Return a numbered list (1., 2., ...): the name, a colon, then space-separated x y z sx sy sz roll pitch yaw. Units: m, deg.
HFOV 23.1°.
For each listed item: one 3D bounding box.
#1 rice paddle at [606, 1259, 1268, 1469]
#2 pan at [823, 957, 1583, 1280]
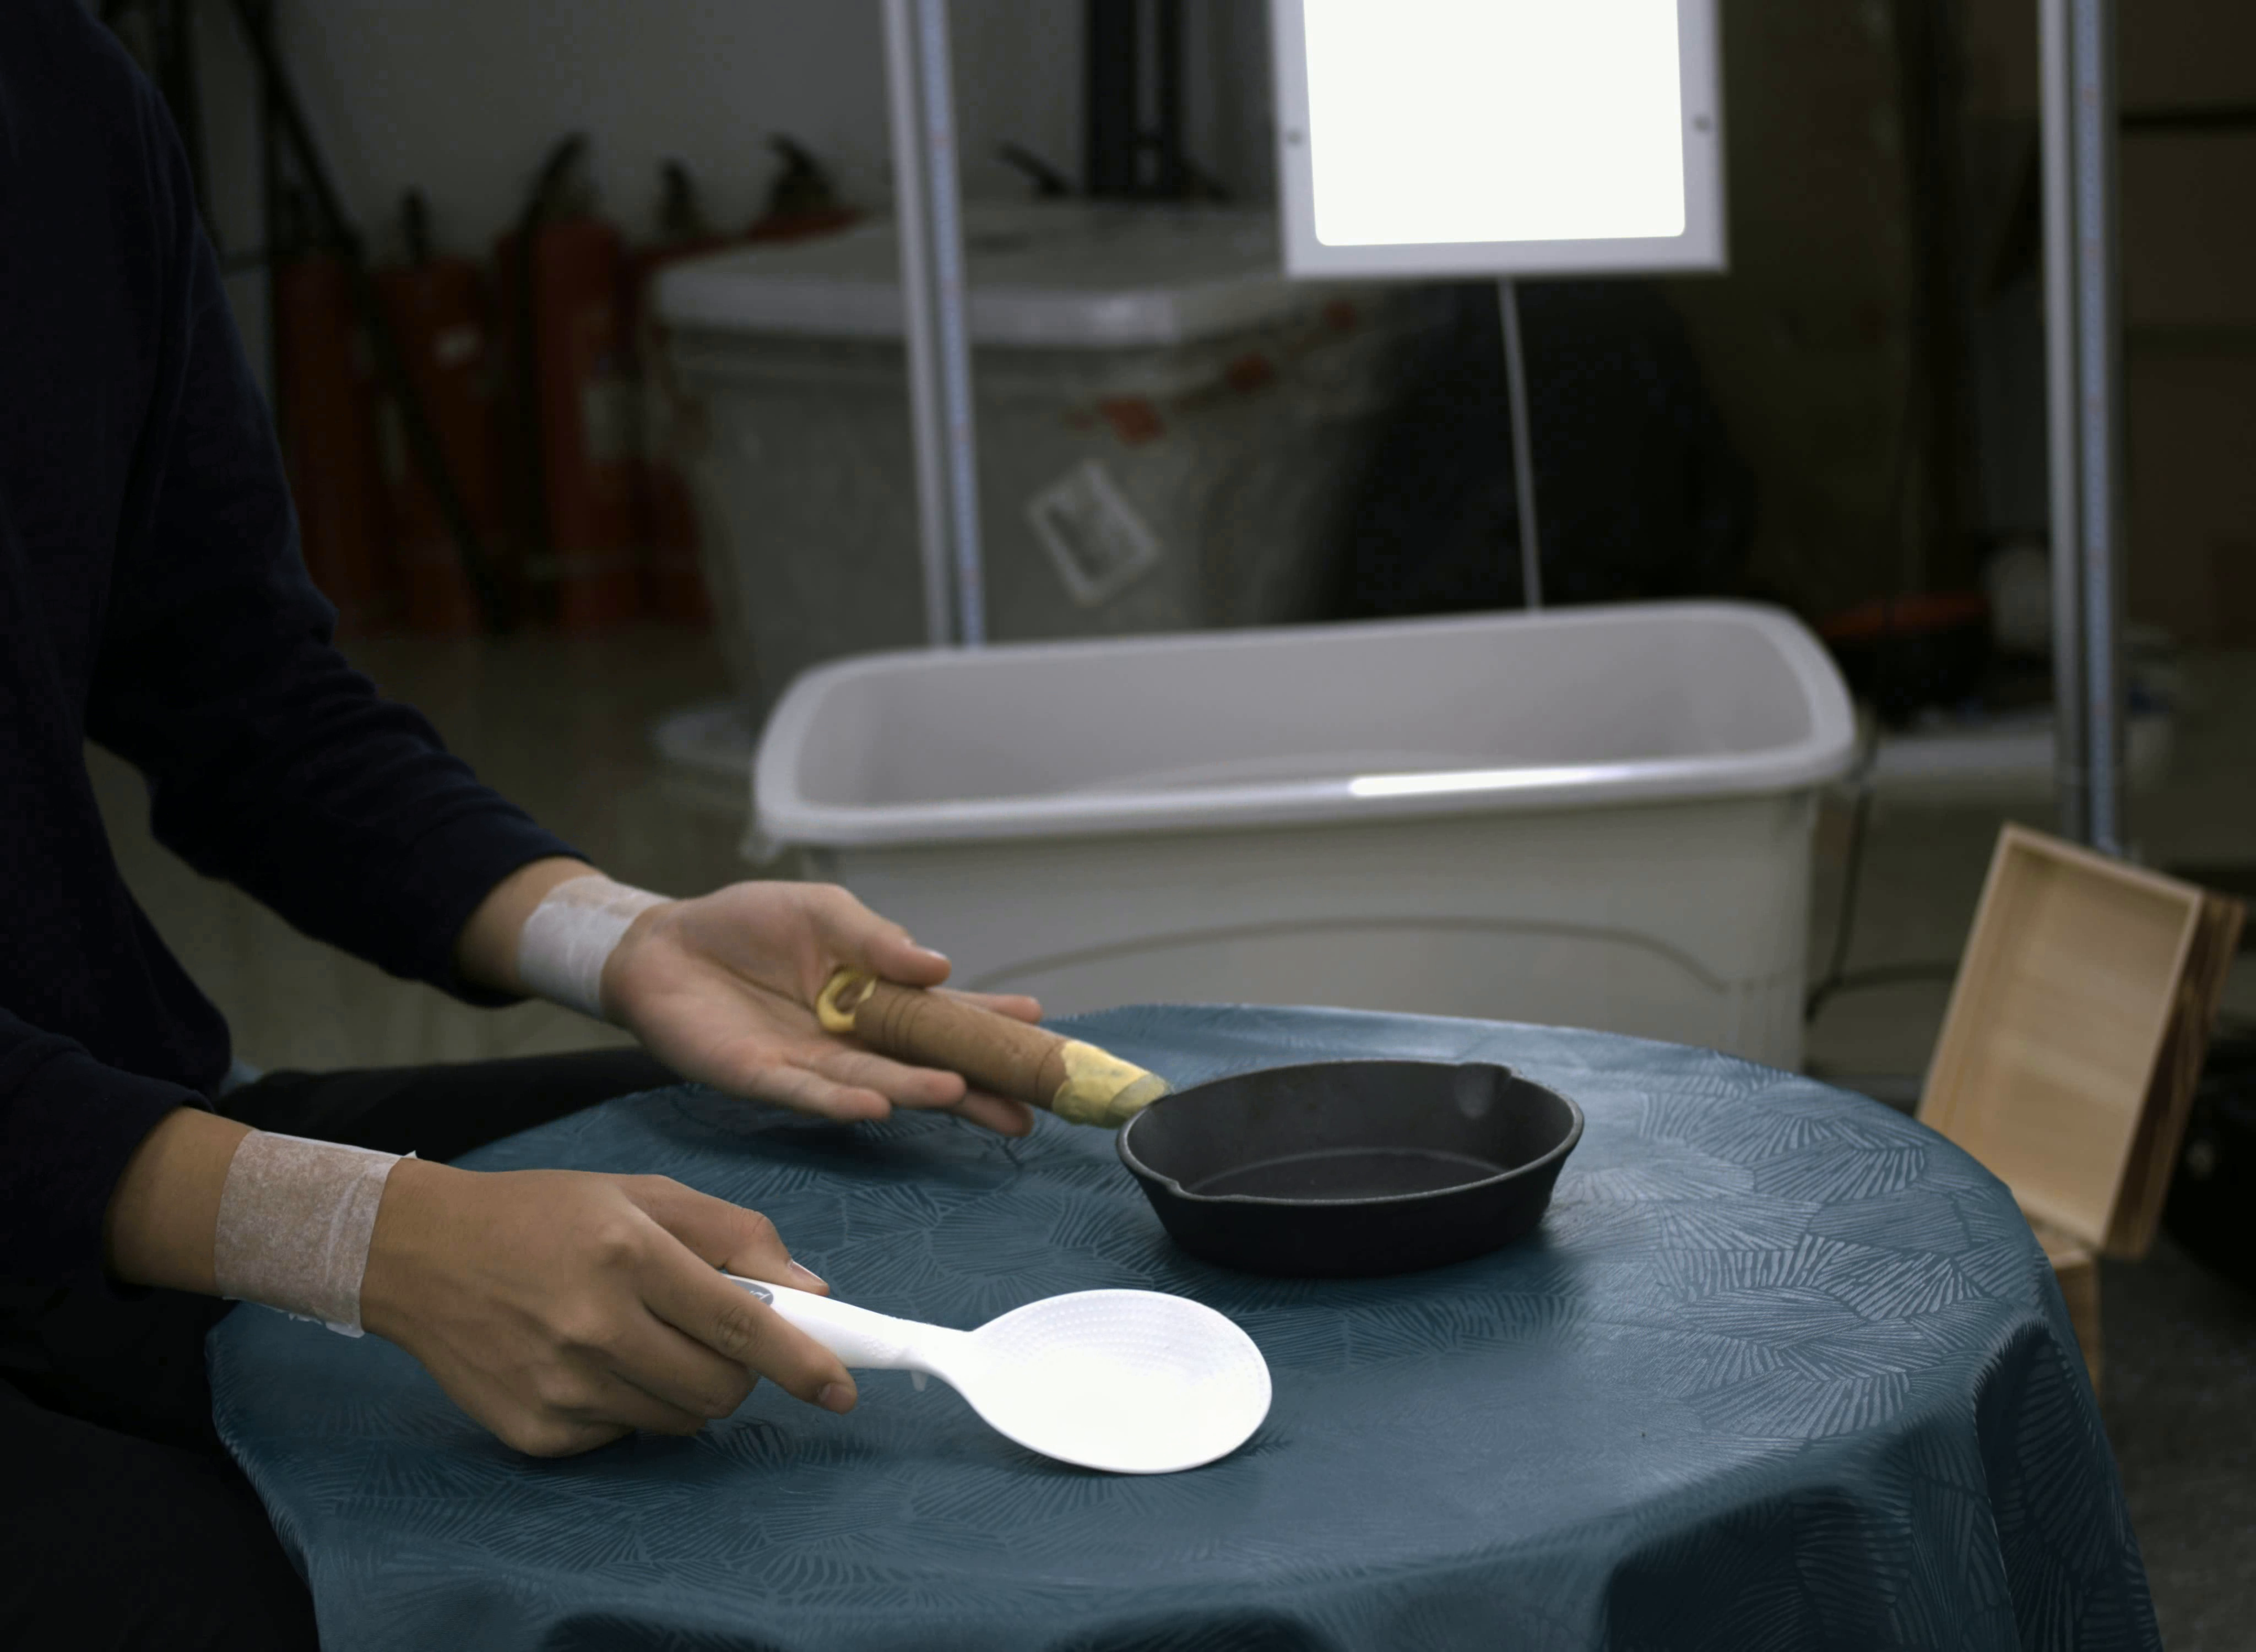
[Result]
1. rice paddle: -0.057 0.158 1.669 0.207 0.029 0.068 6 50 15
2. pan: 0.013 0.096 1.899 0.331 0.050 0.164 12 22 43
